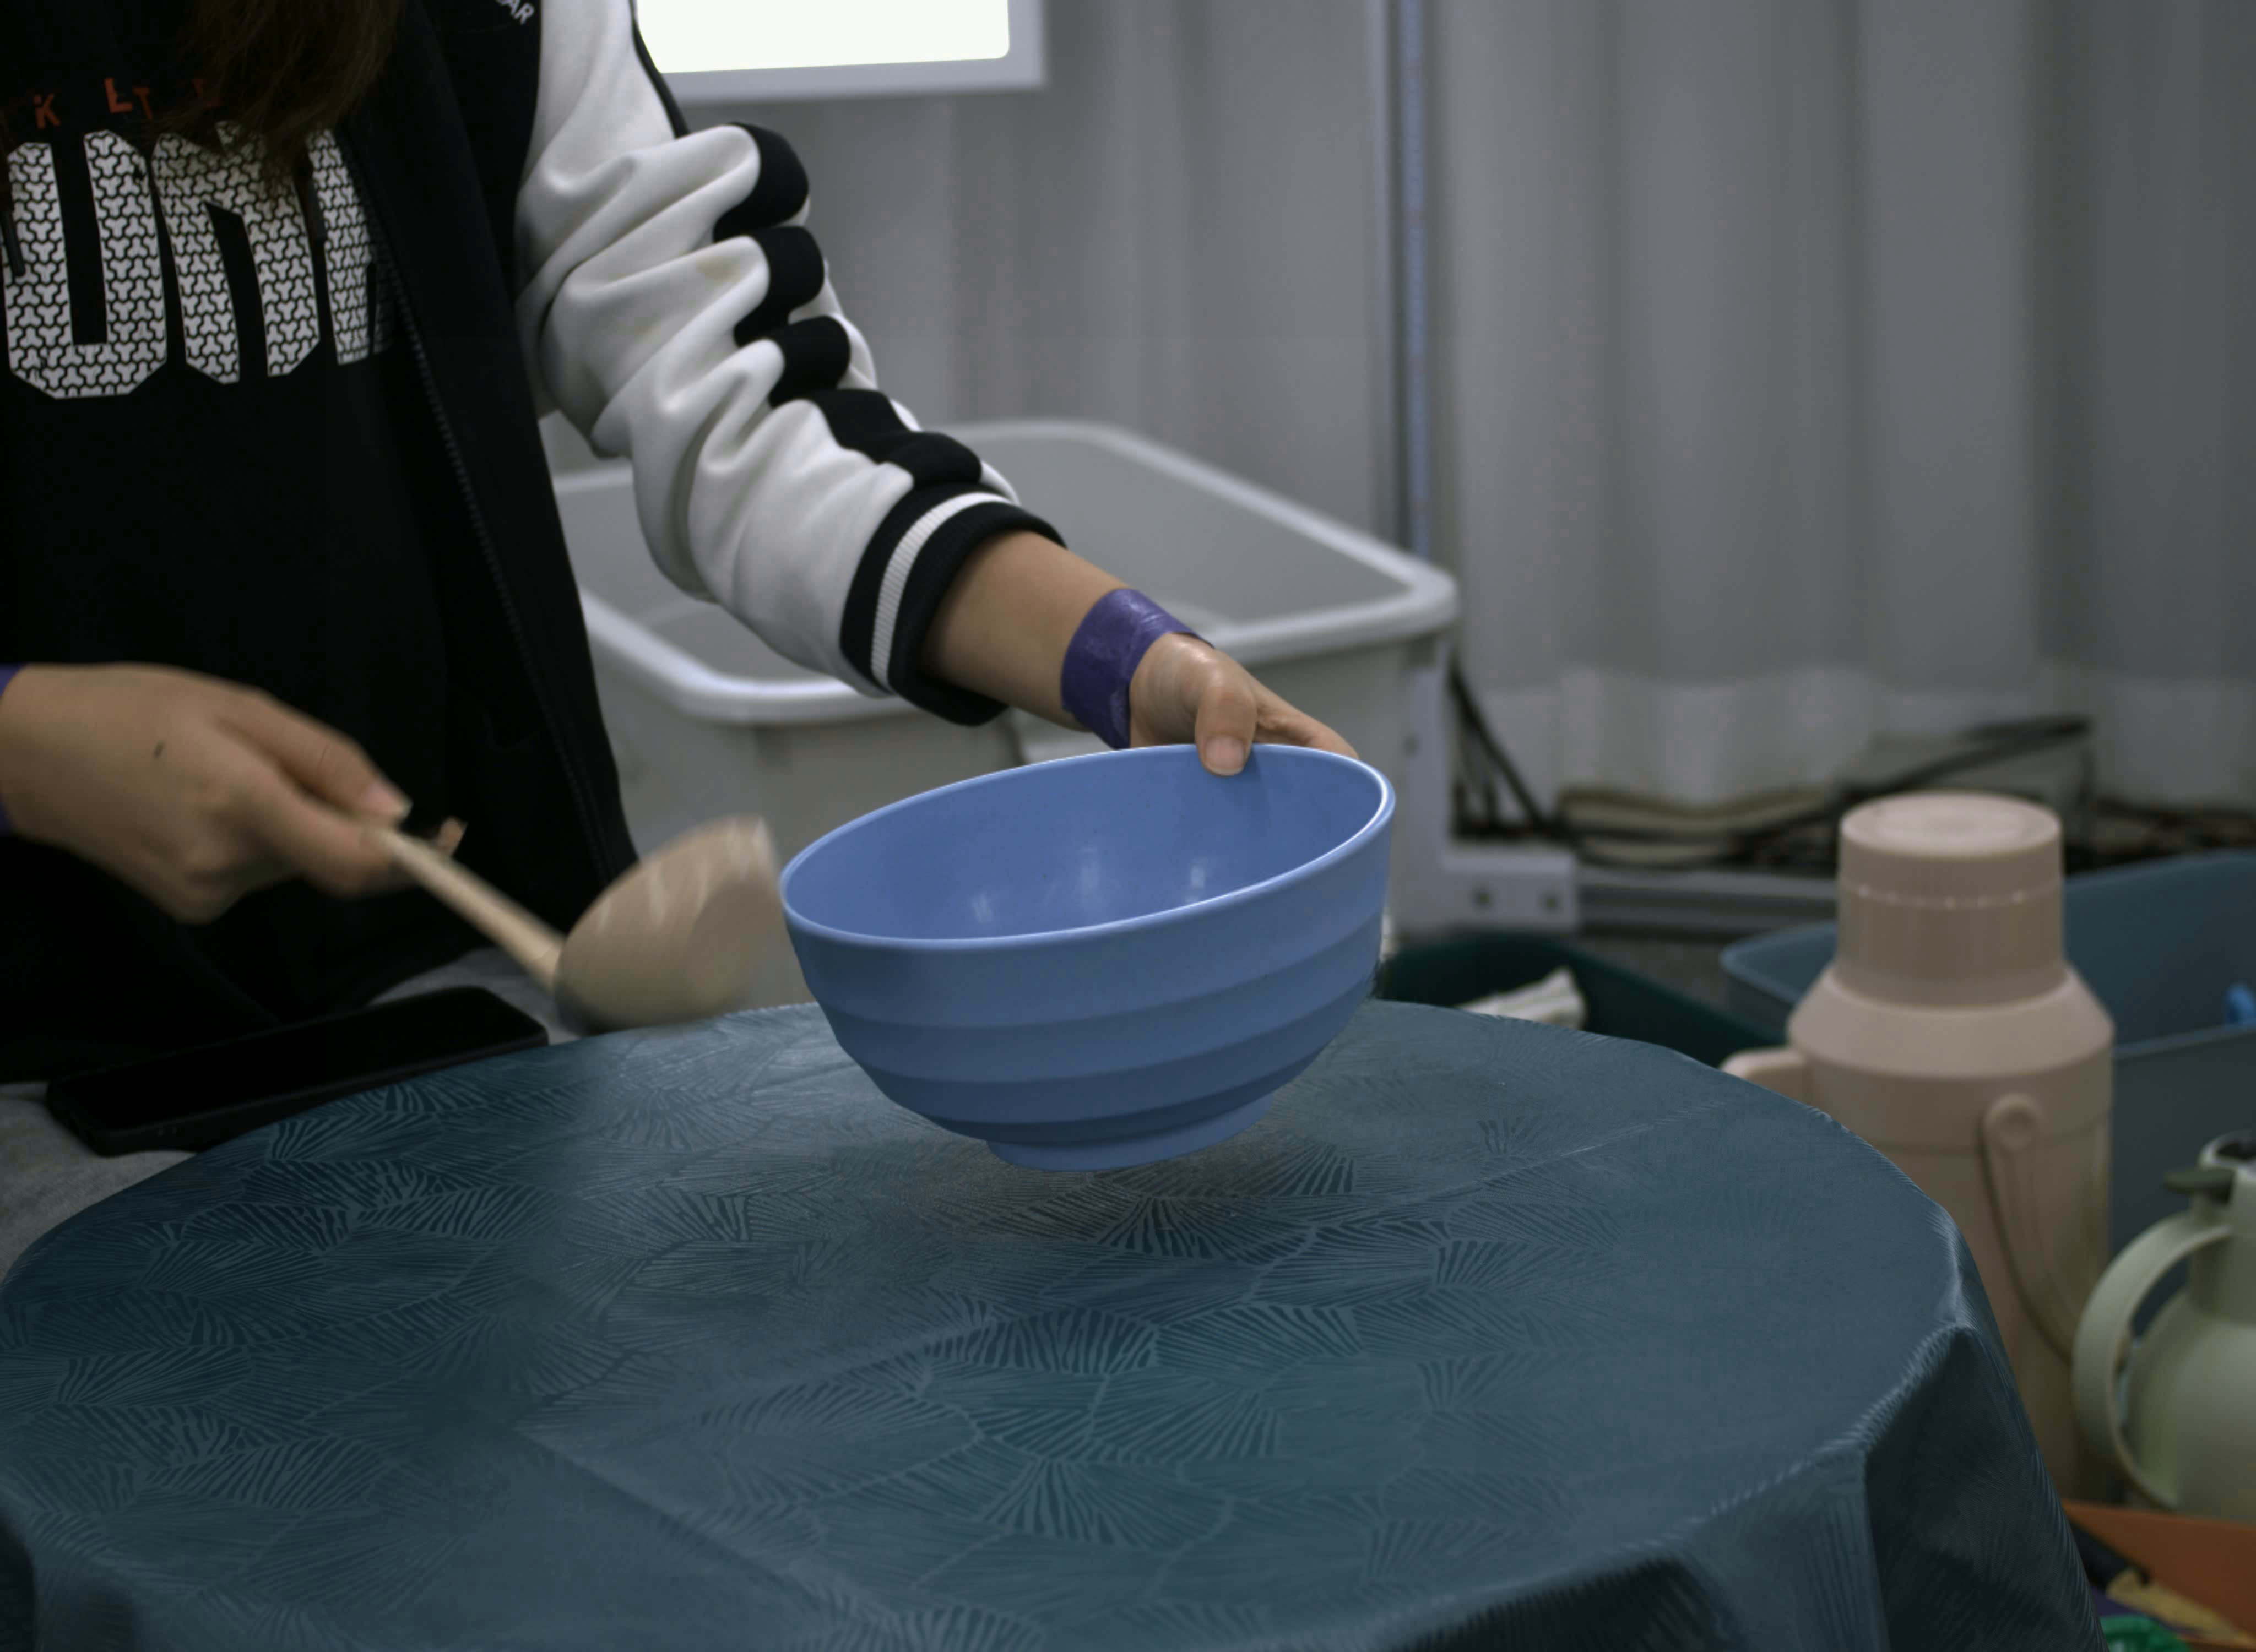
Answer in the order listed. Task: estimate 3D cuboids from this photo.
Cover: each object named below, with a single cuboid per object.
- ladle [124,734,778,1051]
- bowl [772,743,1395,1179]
[{"bbox_3d":[-0.209,-0.008,1.643,0.256,0.072,0.072,28,22,33],"label":"ladle"},{"bbox_3d":[-0.007,0.050,1.707,0.196,0.095,0.198,-9,16,2],"label":"bowl"}]
